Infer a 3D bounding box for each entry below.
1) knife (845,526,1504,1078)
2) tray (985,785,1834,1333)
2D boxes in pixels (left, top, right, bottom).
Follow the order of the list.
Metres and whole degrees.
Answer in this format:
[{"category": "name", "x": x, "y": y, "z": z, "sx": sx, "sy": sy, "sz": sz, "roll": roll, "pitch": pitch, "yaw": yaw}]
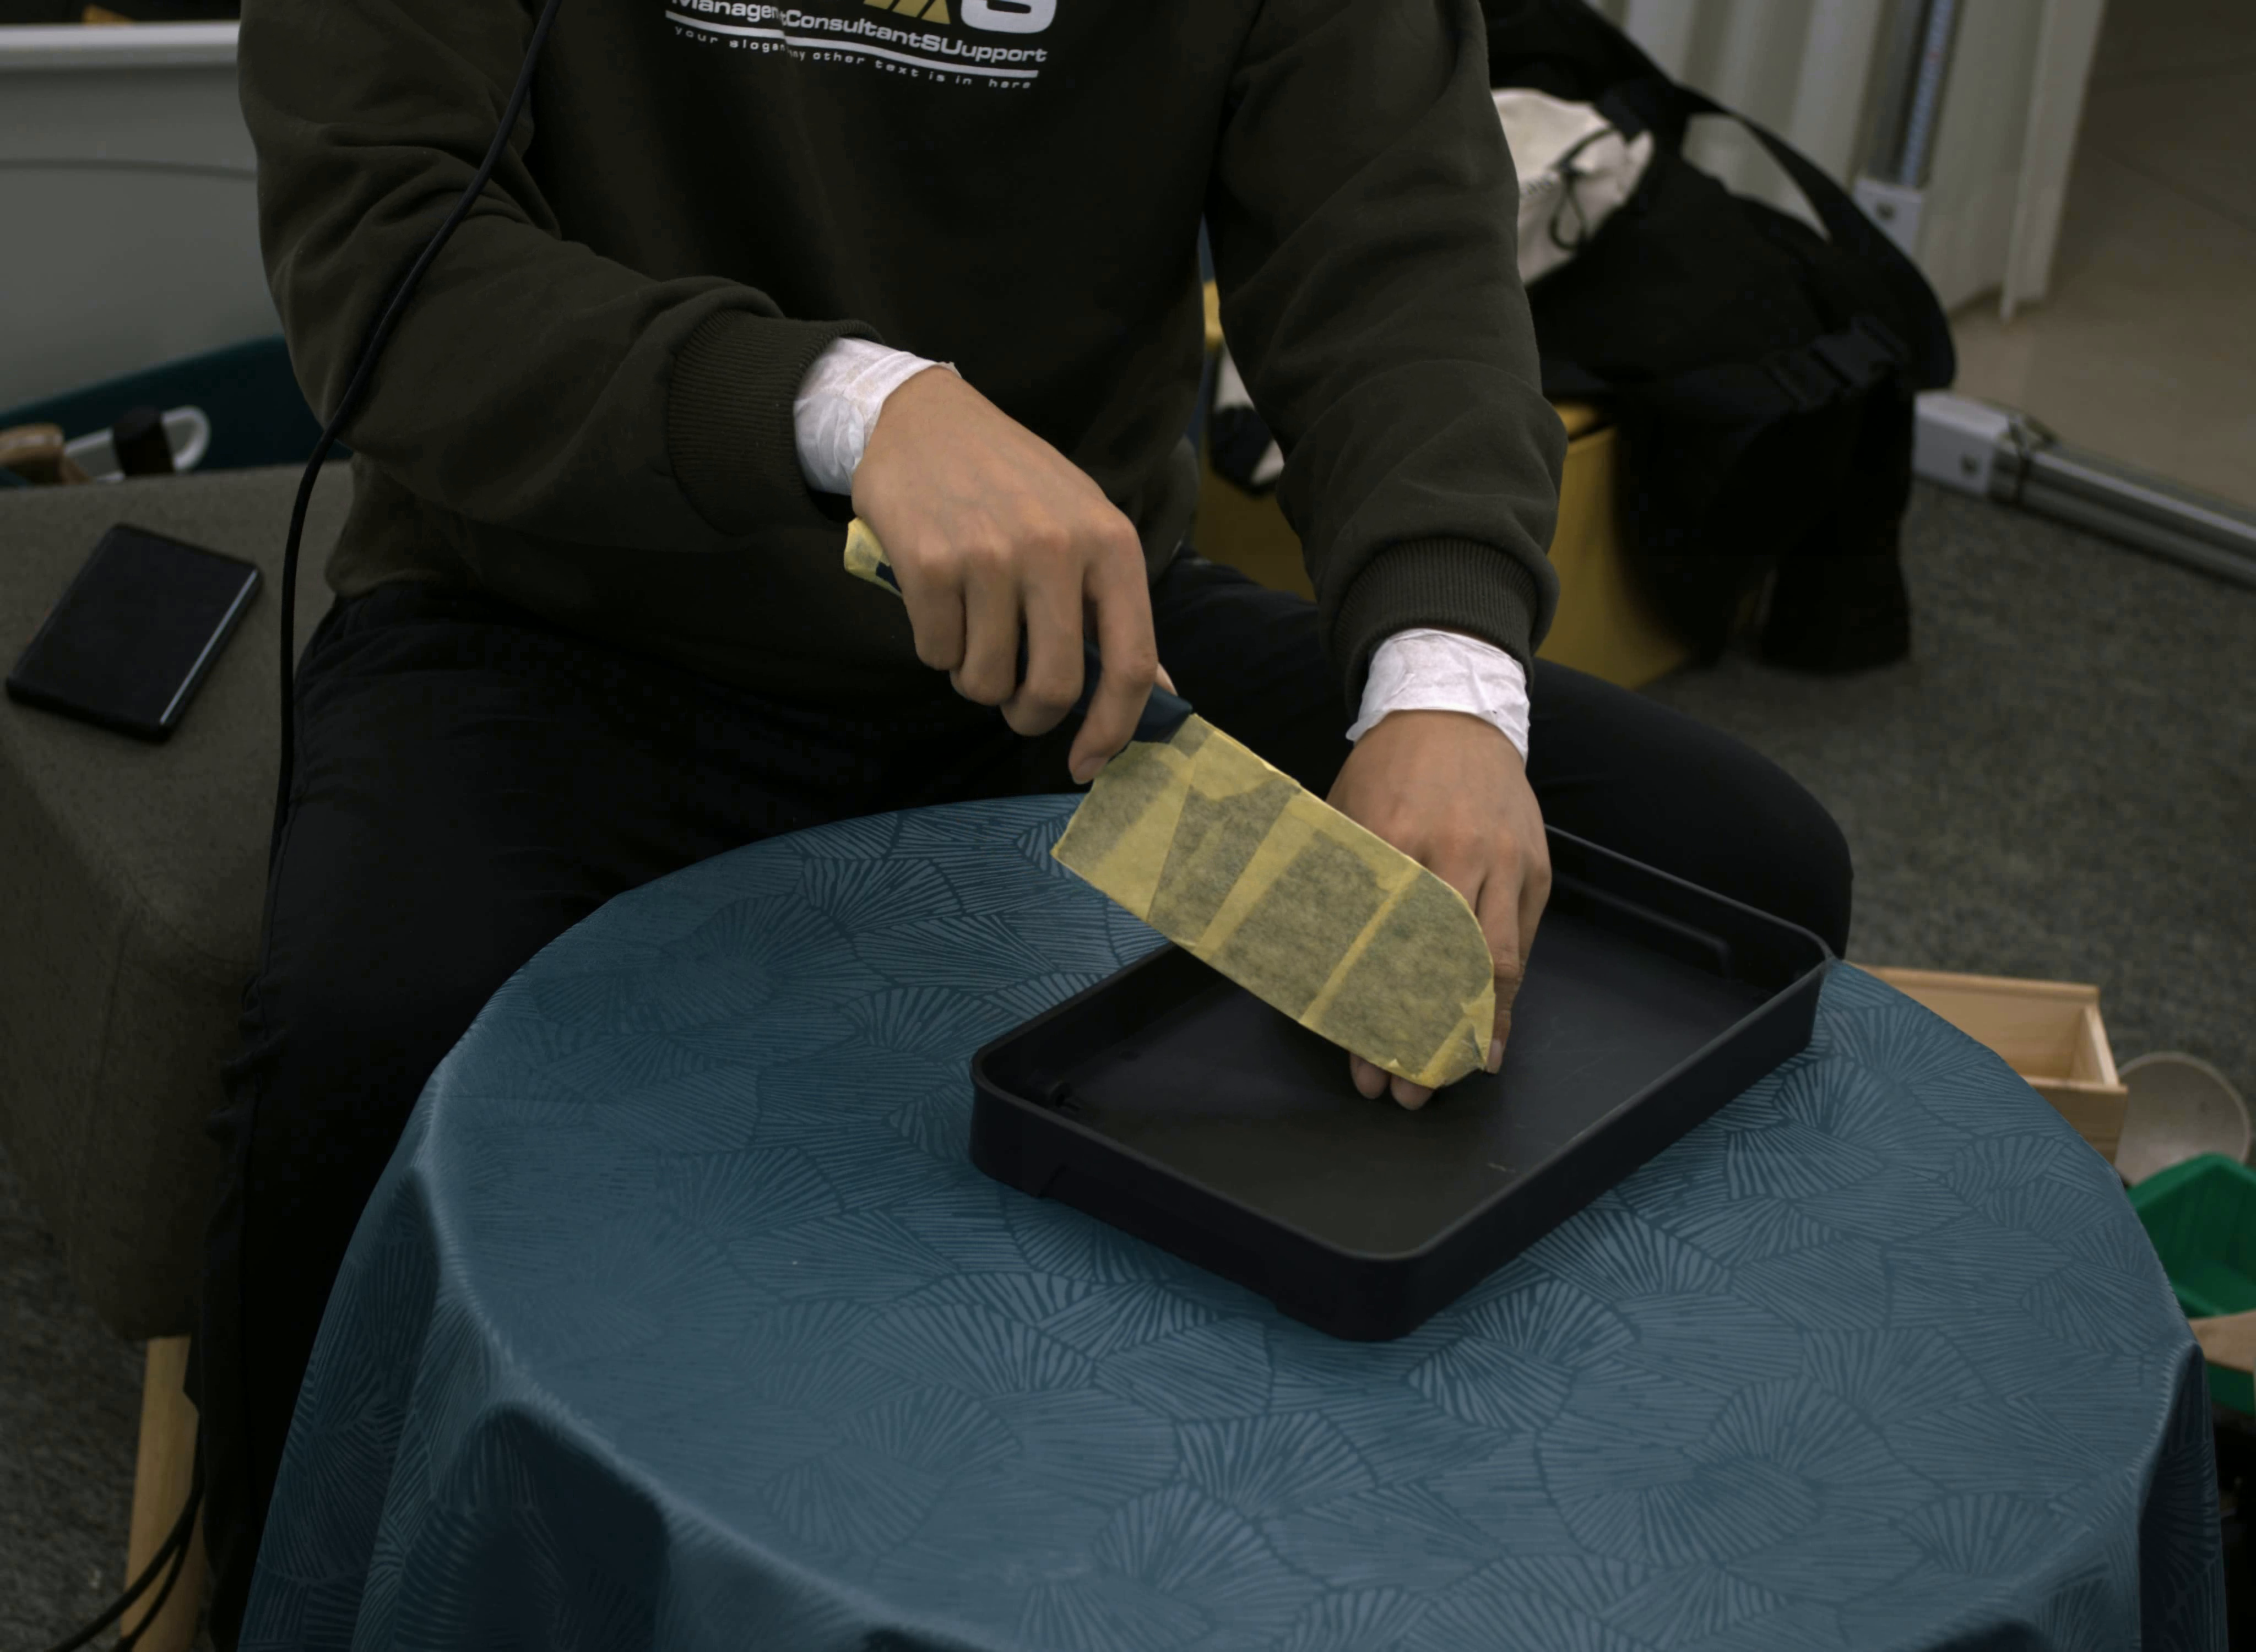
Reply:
[{"category": "knife", "x": 0.013, "y": -0.007, "z": 1.856, "sx": 0.289, "sy": 0.081, "sz": 0.027, "roll": 37, "pitch": 13, "yaw": 2}, {"category": "tray", "x": 0.103, "y": 0.075, "z": 1.882, "sx": 0.185, "sy": 0.037, "sz": 0.317, "roll": 22, "pitch": 30, "yaw": 27}]
